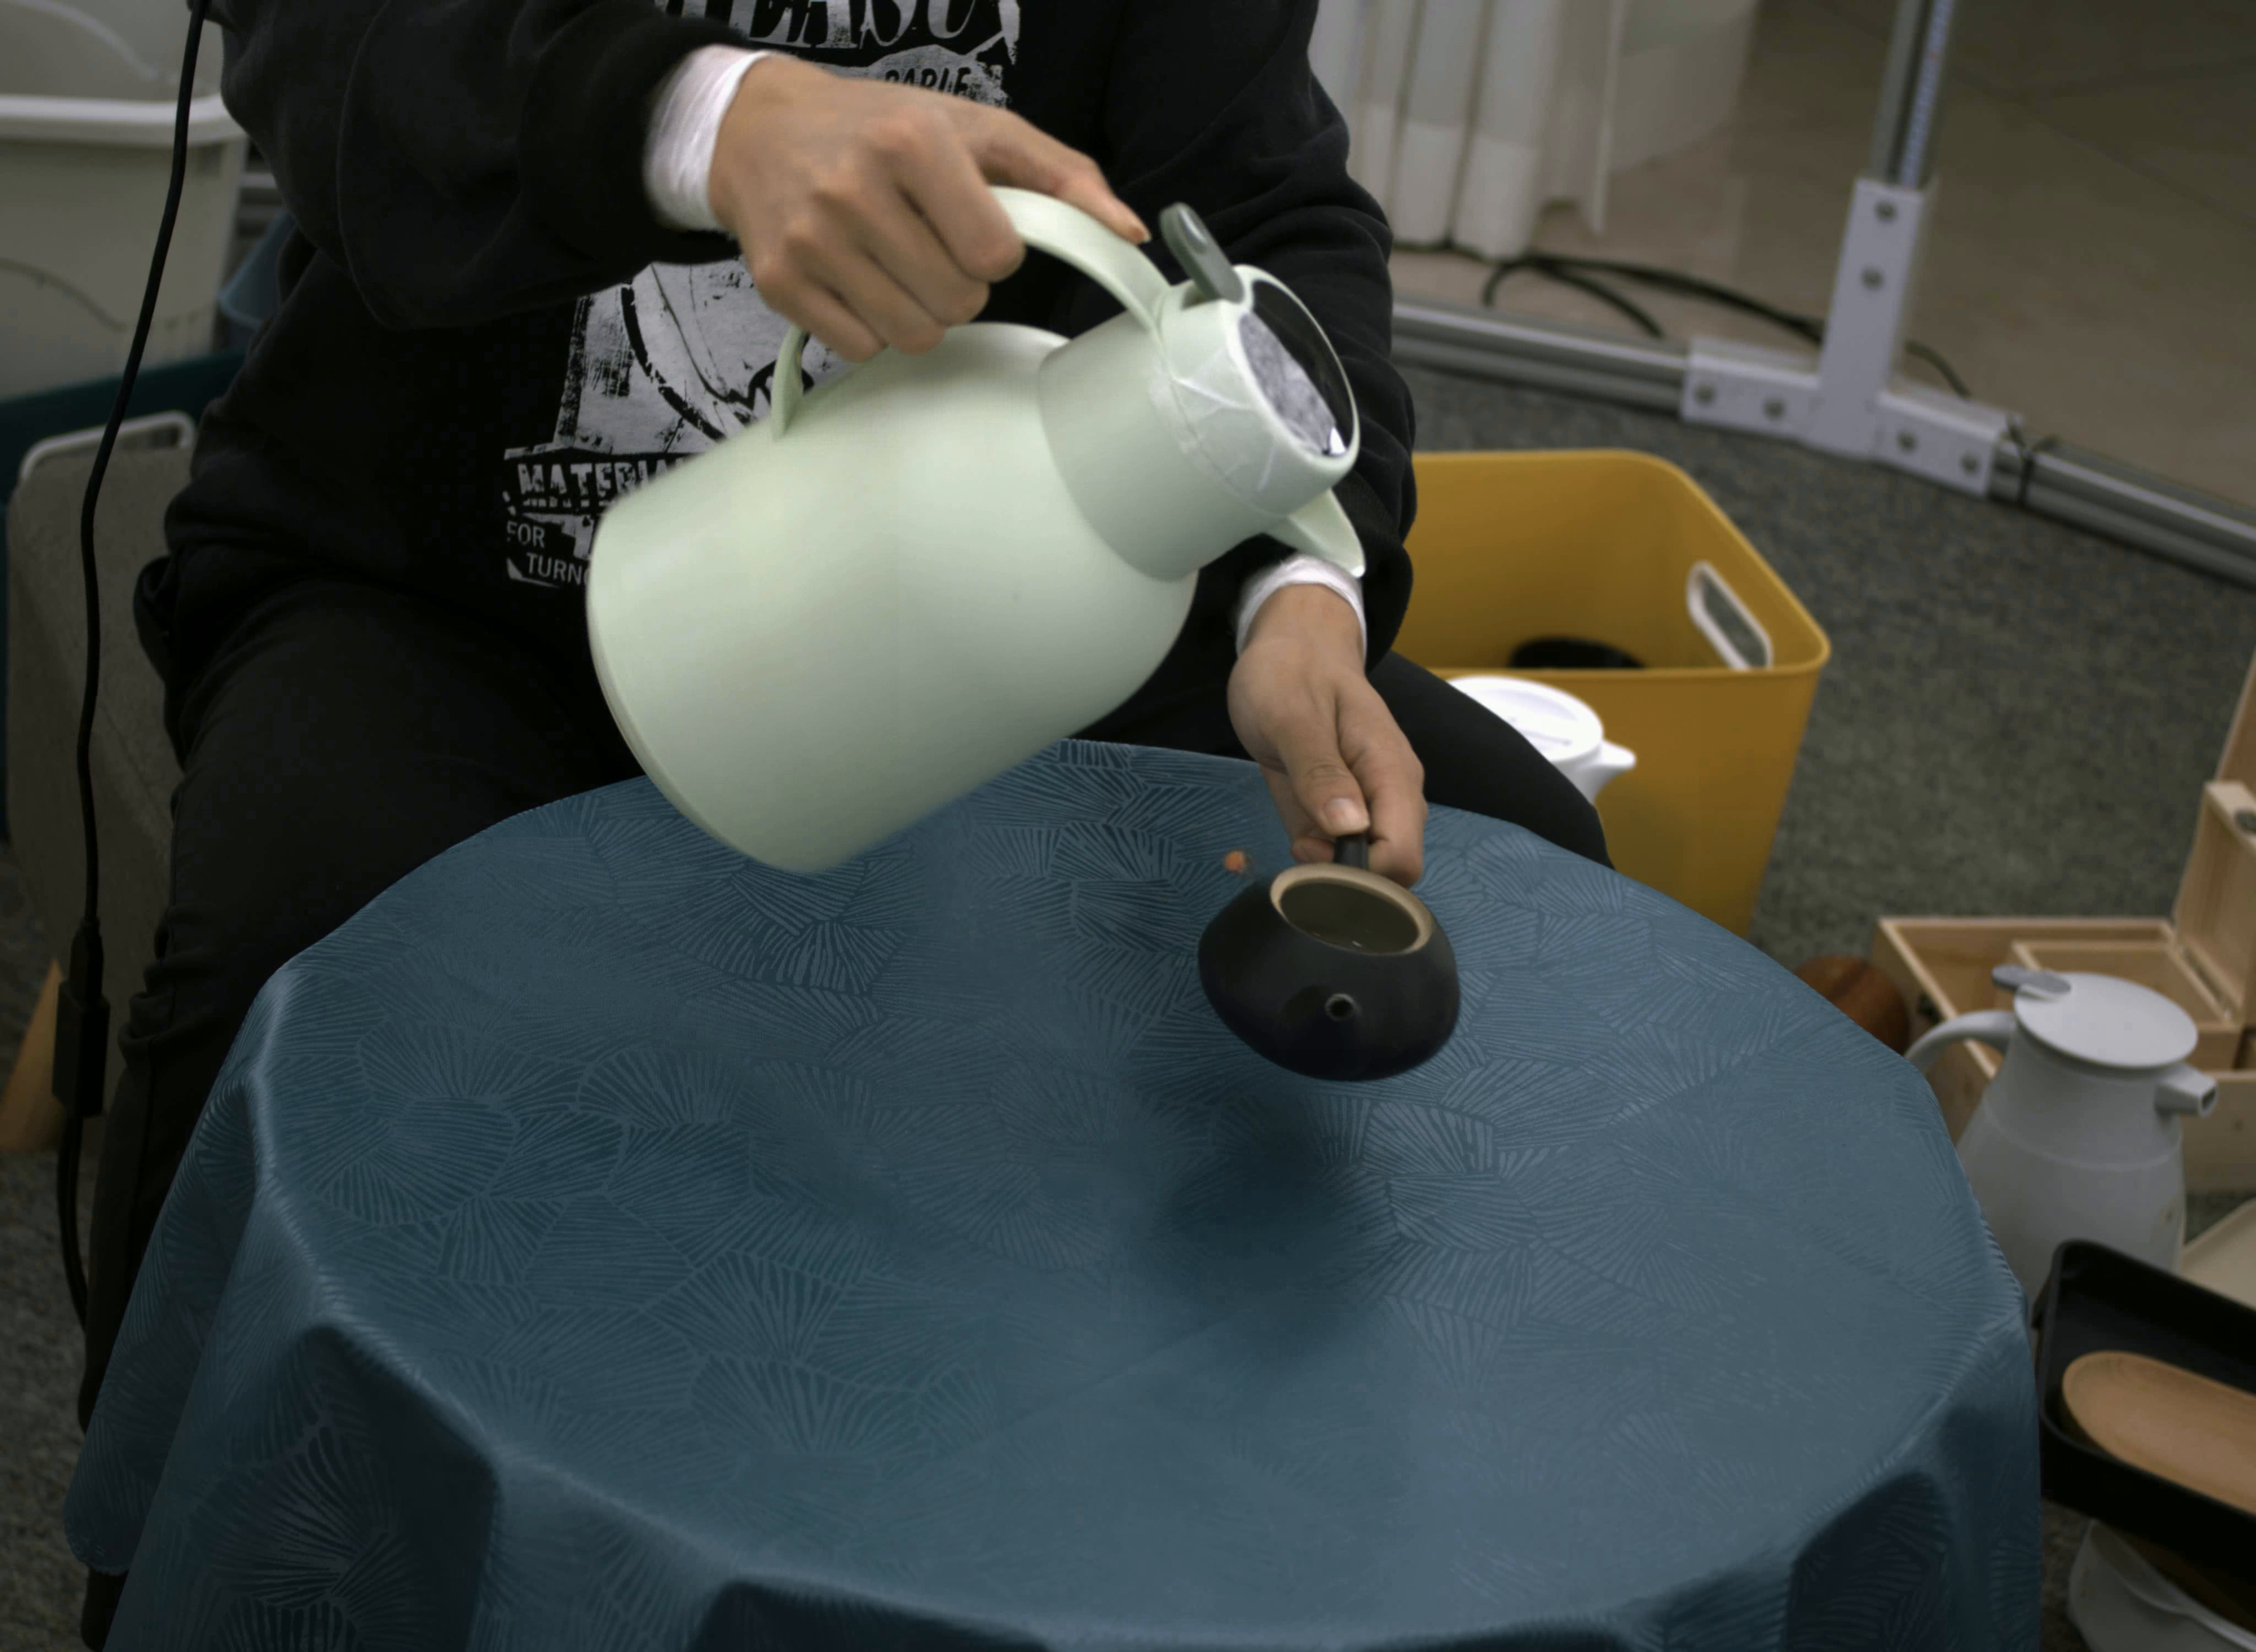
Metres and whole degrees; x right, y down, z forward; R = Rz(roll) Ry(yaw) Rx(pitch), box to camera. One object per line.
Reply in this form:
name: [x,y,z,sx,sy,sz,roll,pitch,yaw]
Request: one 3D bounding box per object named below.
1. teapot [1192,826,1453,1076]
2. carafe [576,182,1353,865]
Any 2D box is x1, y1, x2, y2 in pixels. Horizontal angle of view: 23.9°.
teapot: [0.067,0.048,1.803,0.090,0.053,0.134,15,29,-2]
carafe: [-0.057,-0.108,1.751,0.257,0.186,0.145,-29,22,28]
